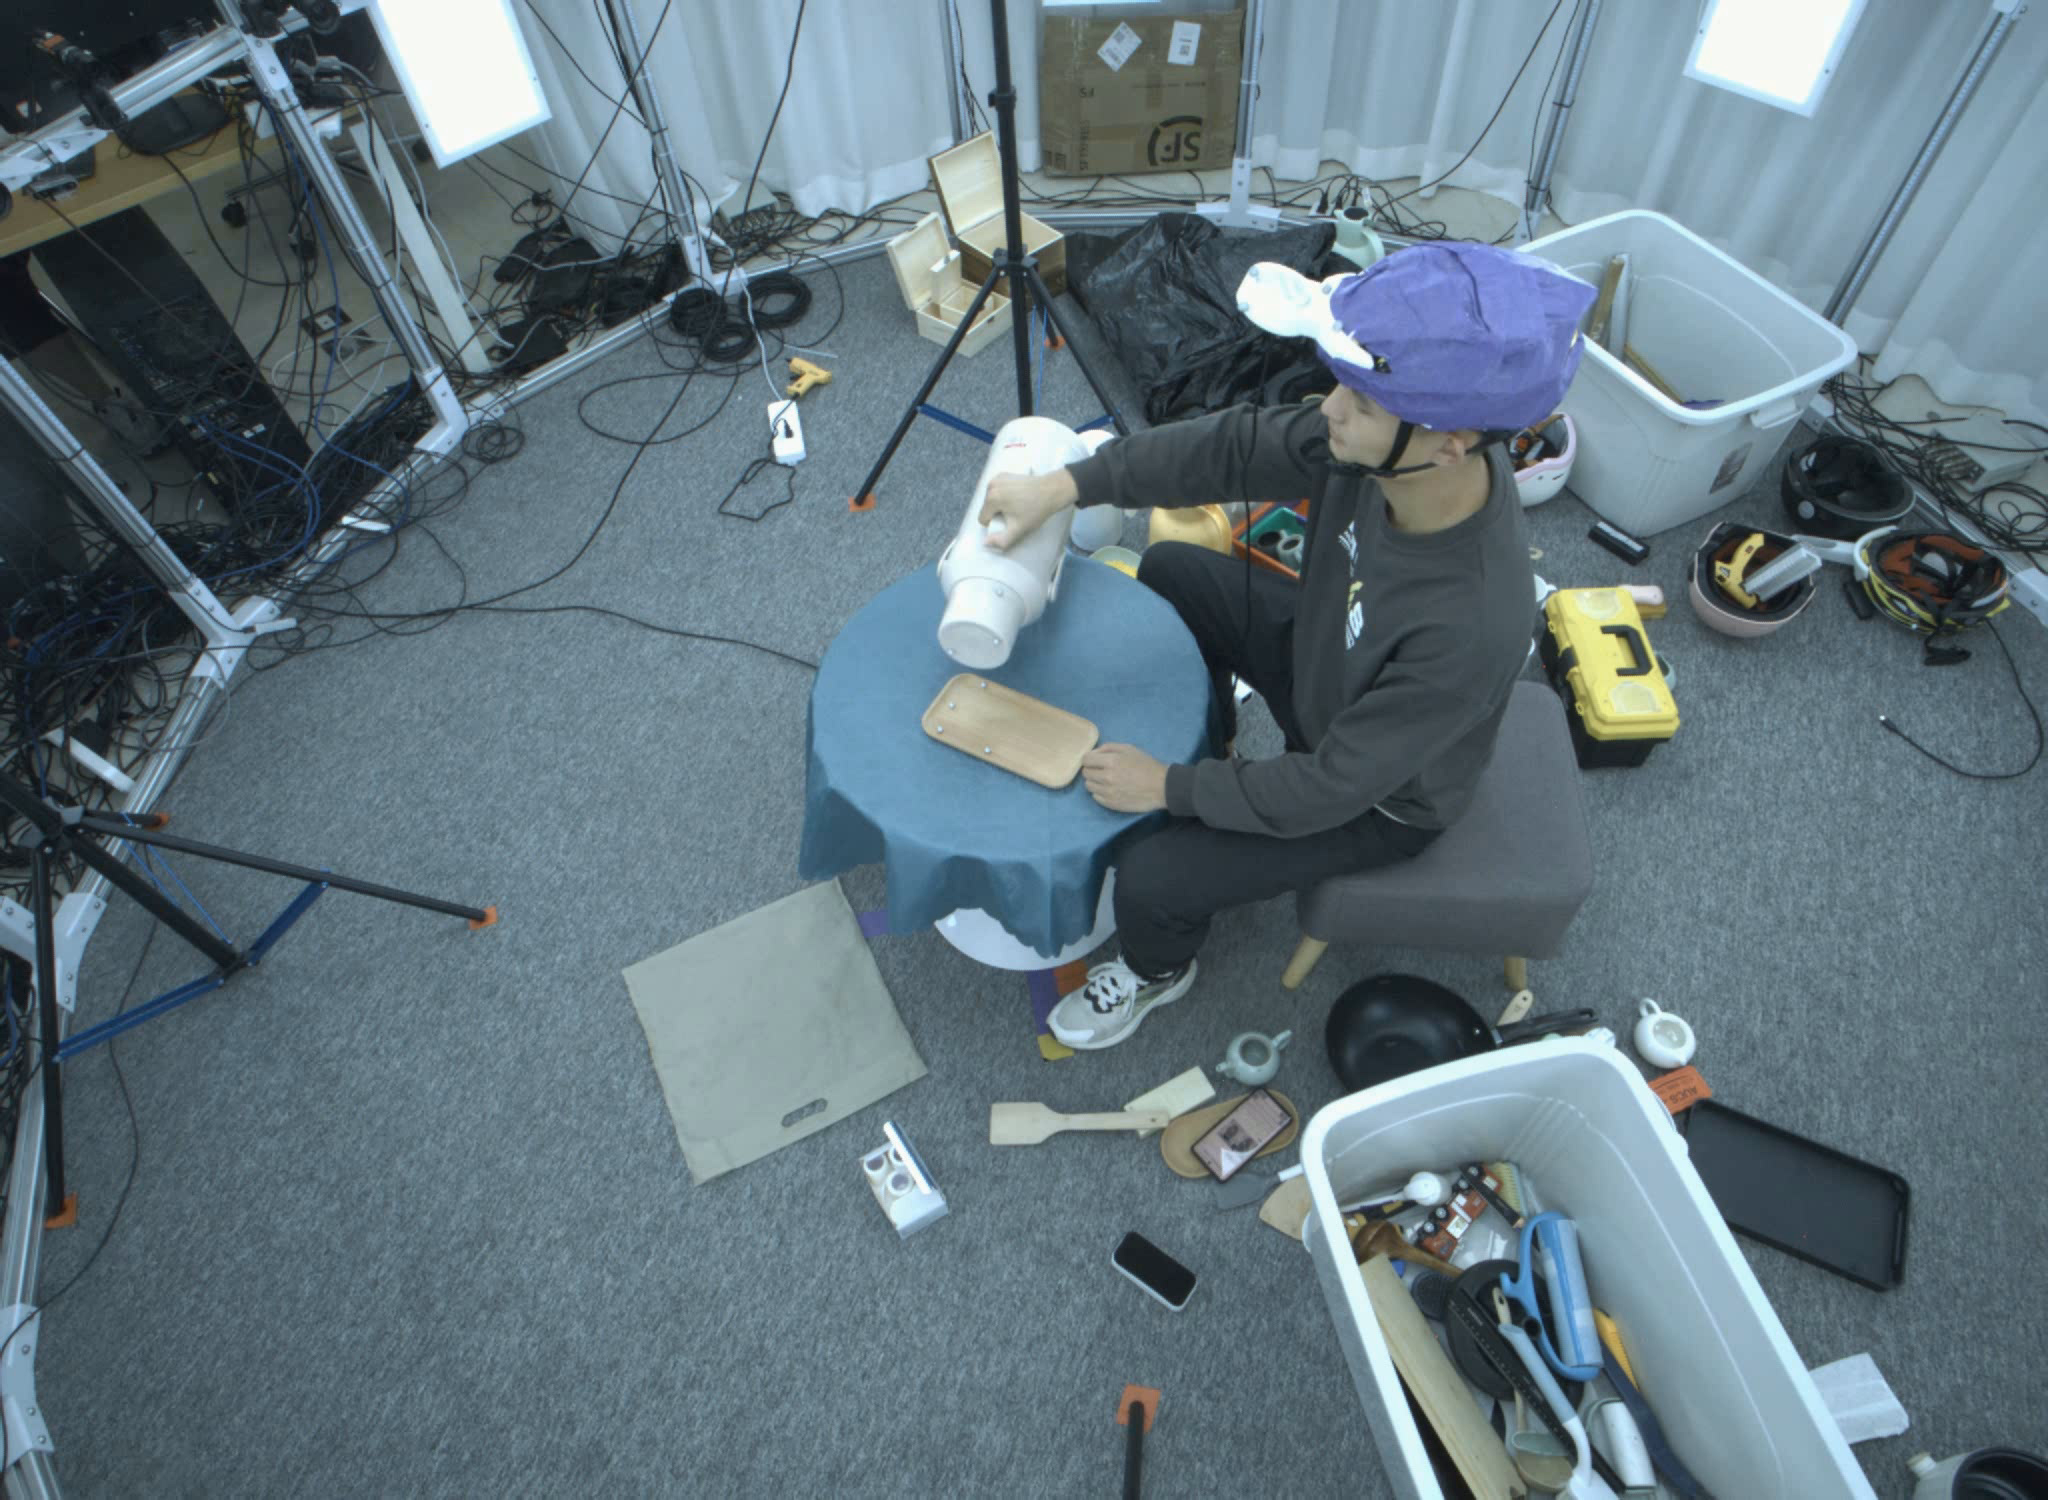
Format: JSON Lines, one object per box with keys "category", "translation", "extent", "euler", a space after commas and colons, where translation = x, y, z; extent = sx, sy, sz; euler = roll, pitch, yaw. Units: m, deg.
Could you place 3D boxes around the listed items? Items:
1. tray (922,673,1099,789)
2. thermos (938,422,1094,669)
{"category": "tray", "translation": [-0.020, -0.029, 1.797], "extent": [0.247, 0.023, 0.131], "euler": [24, 61, 17]}
{"category": "thermos", "translation": [-0.017, -0.311, 1.799], "extent": [0.174, 0.209, 0.405], "euler": [14, 56, 7]}
